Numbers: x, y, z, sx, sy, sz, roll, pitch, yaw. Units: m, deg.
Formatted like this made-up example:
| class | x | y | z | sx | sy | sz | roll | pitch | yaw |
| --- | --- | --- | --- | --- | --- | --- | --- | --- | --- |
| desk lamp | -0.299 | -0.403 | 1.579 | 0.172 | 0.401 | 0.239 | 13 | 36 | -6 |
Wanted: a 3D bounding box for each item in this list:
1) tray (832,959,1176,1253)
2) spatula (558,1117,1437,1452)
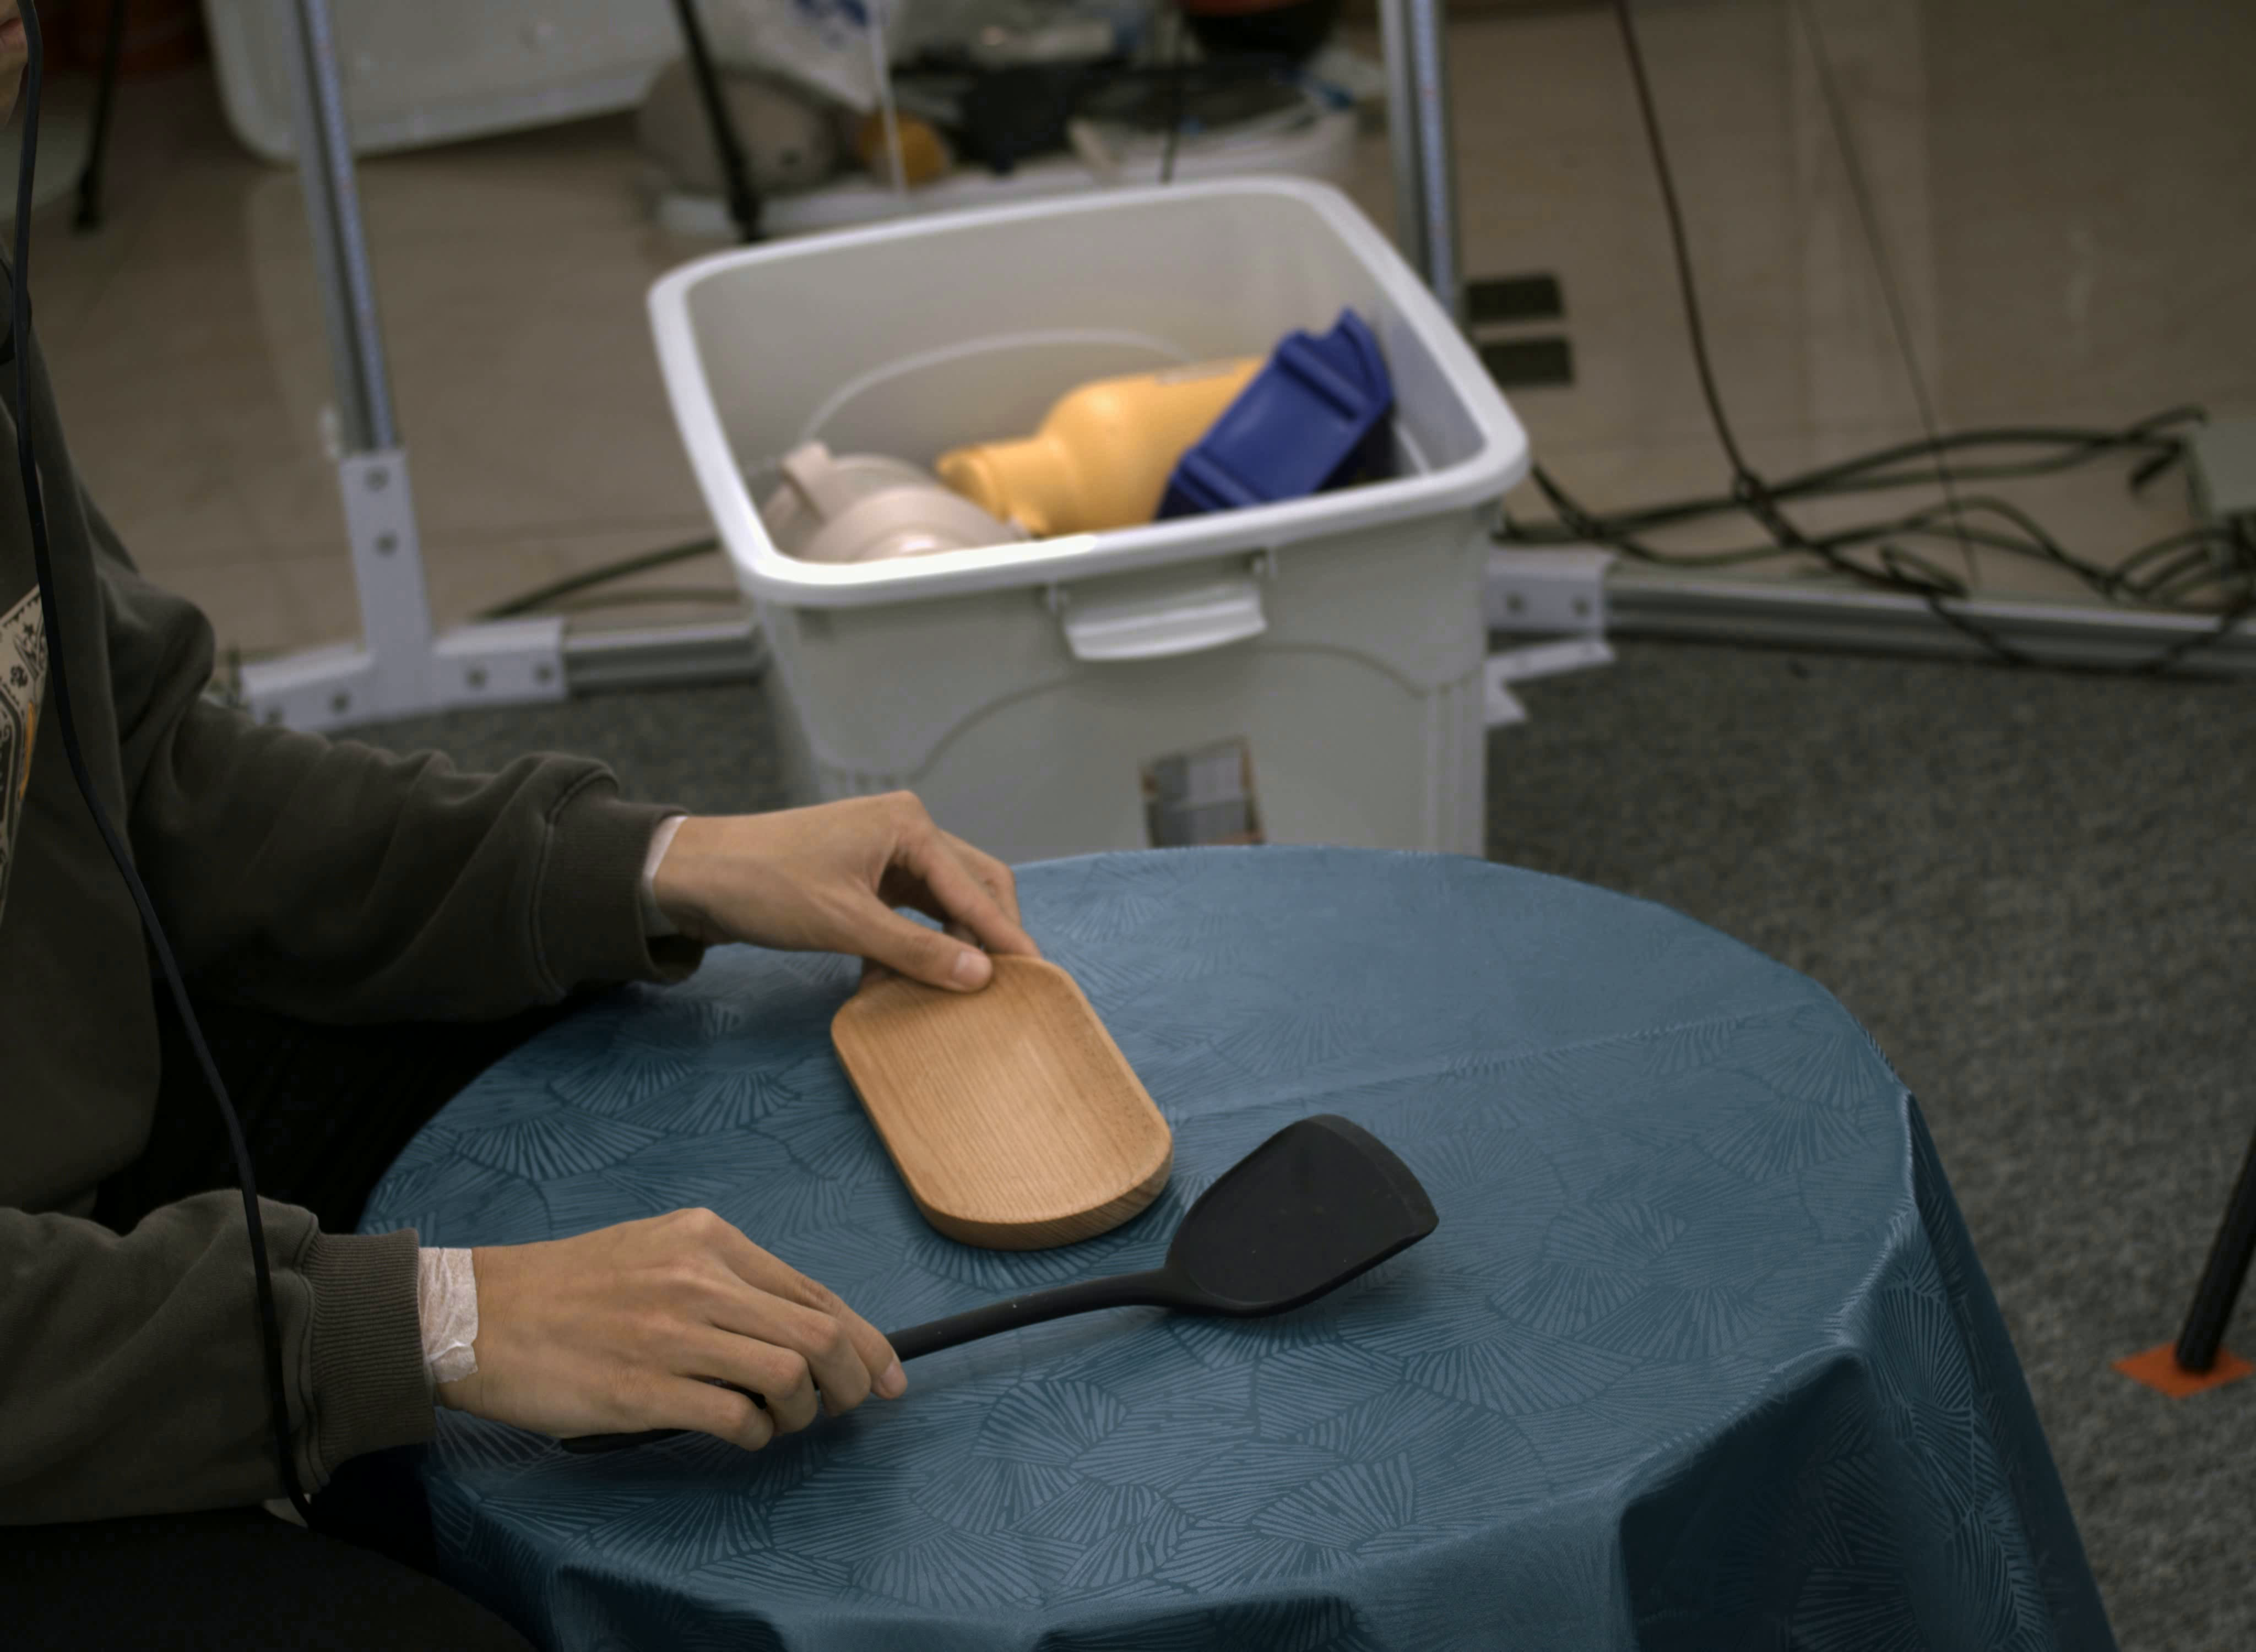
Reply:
| class | x | y | z | sx | sy | sz | roll | pitch | yaw |
| --- | --- | --- | --- | --- | --- | --- | --- | --- | --- |
| tray | -0.049 | 0.107 | 2.206 | 0.101 | 0.020 | 0.228 | -16 | 28 | -10 |
| spatula | -0.050 | 0.172 | 2.034 | 0.325 | 0.041 | 0.098 | -12 | 27 | -19 |
